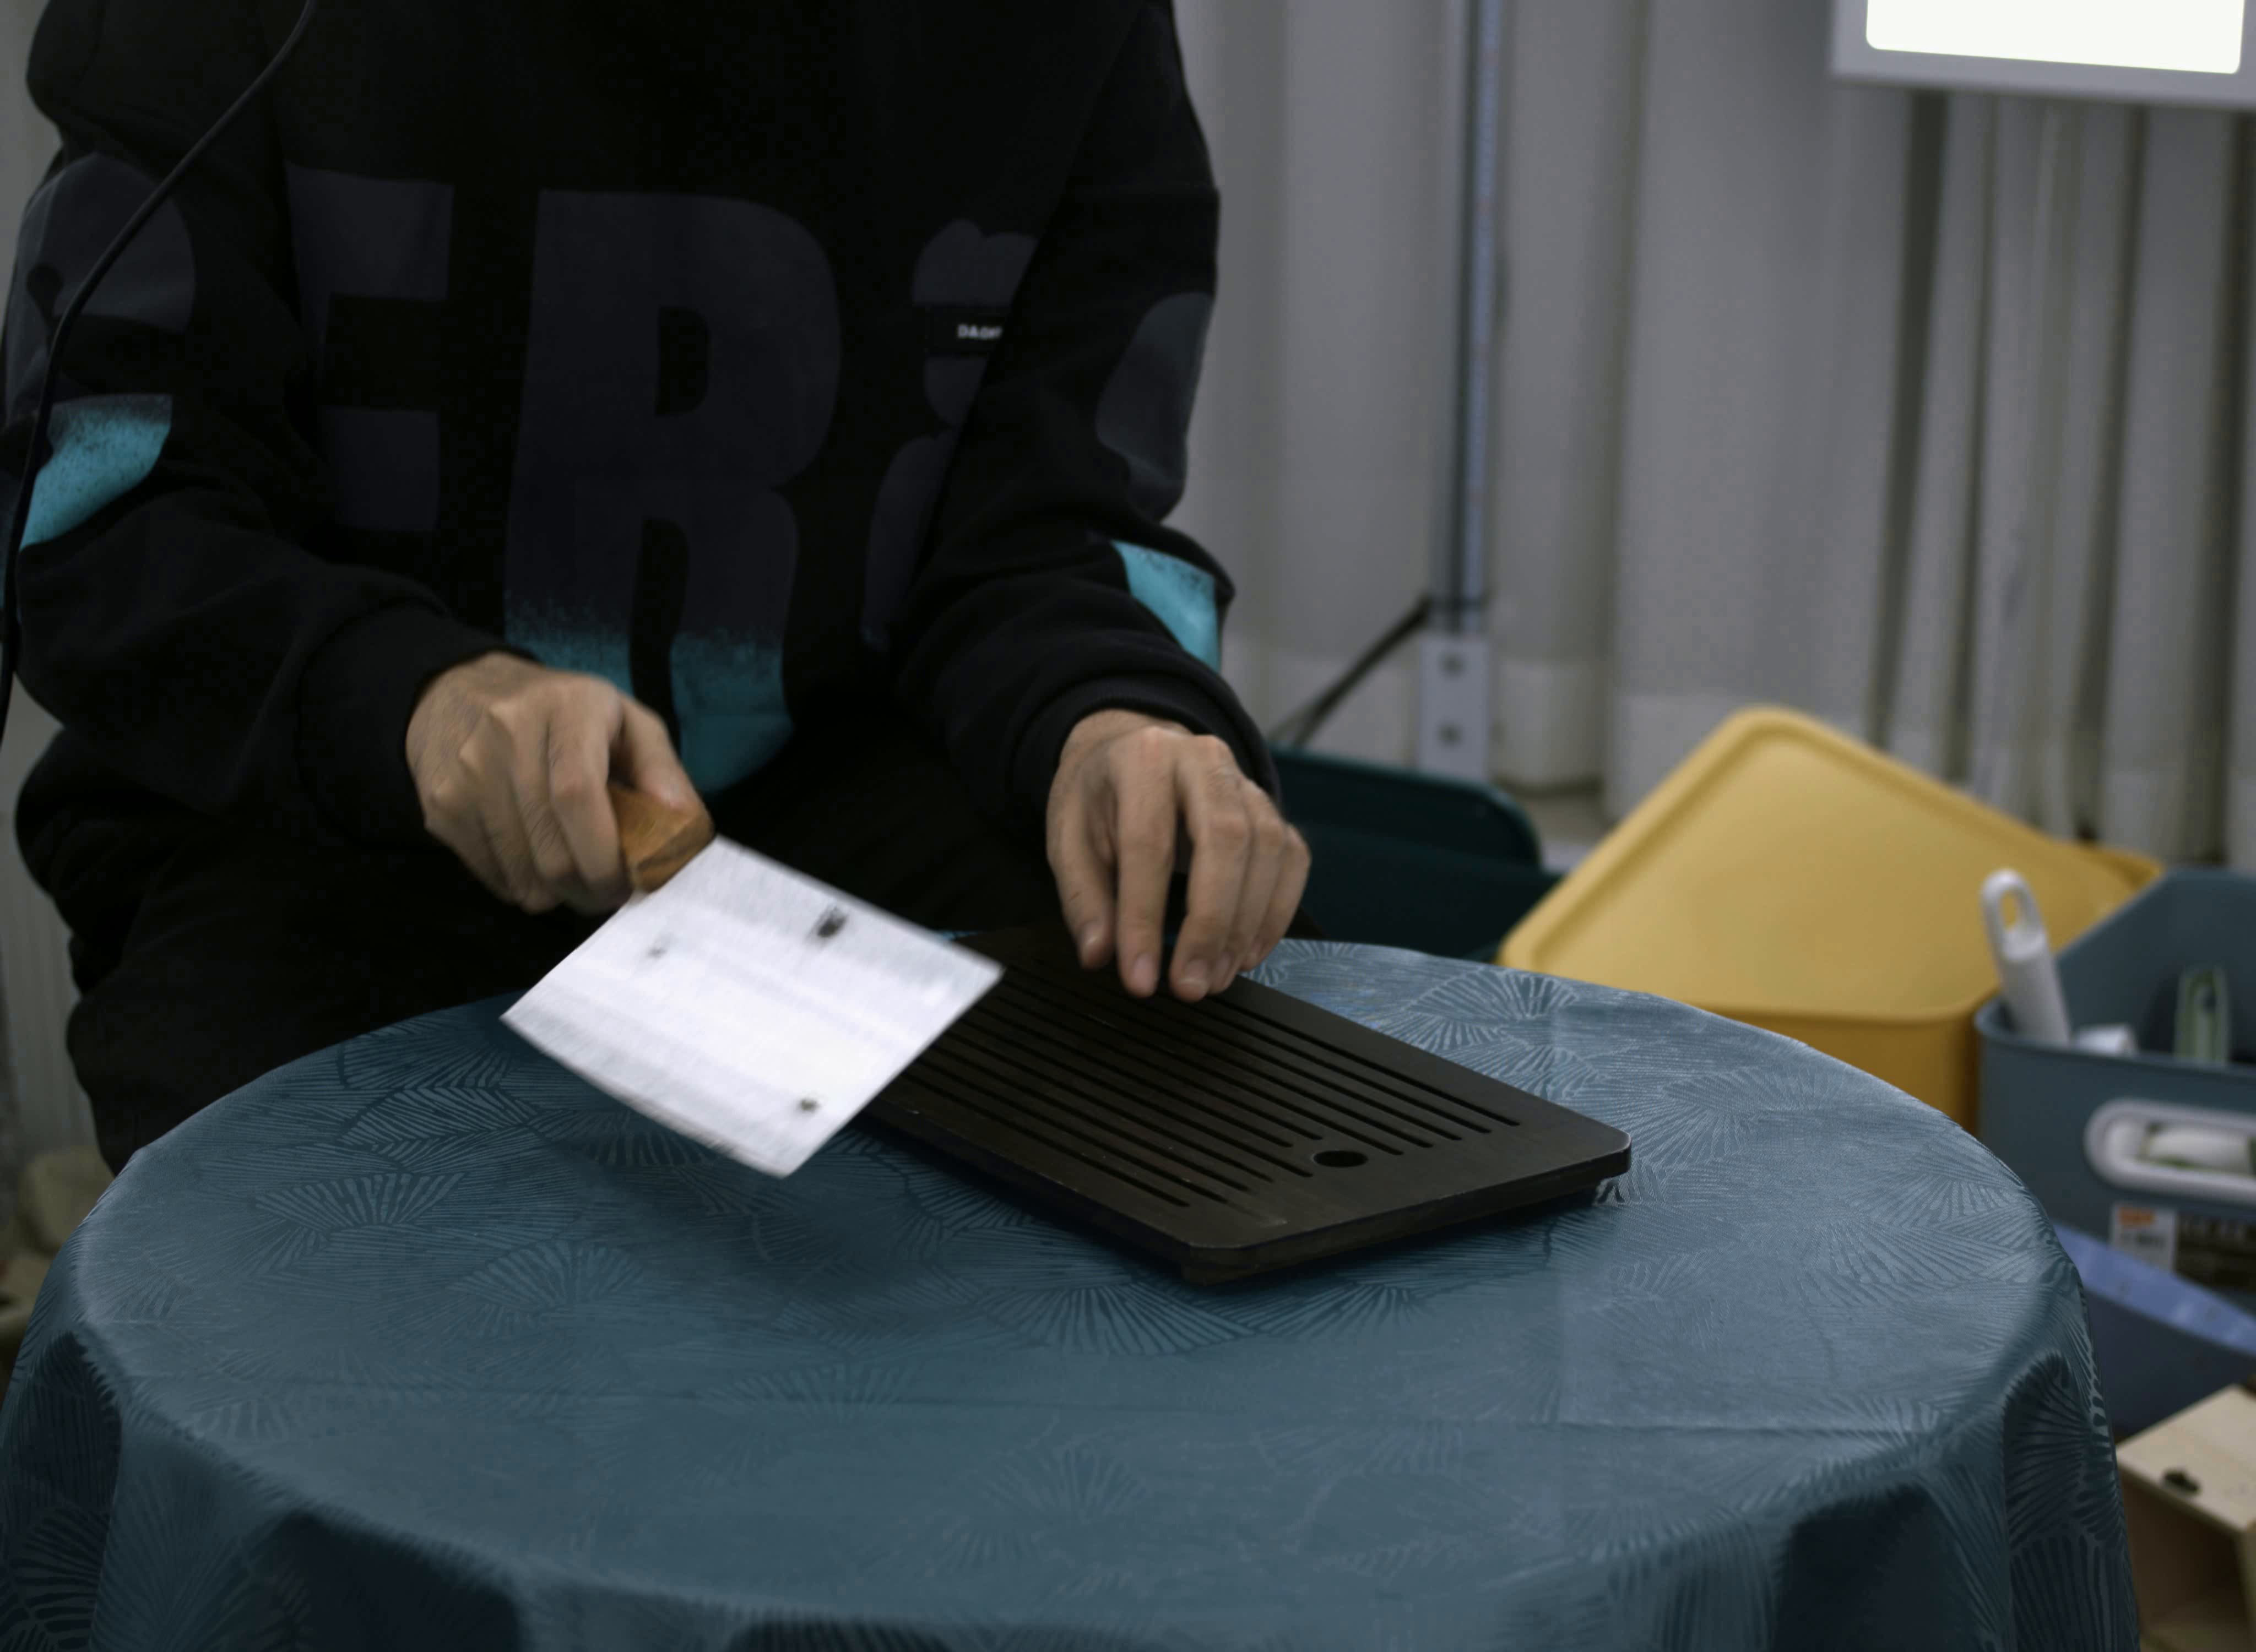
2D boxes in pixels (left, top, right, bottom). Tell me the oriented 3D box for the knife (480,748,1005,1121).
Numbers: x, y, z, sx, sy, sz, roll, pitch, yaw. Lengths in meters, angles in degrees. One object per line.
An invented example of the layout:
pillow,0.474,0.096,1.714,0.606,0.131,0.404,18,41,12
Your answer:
knife,-0.143,0.034,1.646,0.093,0.021,0.302,-46,32,-15

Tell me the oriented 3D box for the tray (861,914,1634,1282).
tray,0.006,0.084,1.692,0.171,0.019,0.302,-11,19,-34
